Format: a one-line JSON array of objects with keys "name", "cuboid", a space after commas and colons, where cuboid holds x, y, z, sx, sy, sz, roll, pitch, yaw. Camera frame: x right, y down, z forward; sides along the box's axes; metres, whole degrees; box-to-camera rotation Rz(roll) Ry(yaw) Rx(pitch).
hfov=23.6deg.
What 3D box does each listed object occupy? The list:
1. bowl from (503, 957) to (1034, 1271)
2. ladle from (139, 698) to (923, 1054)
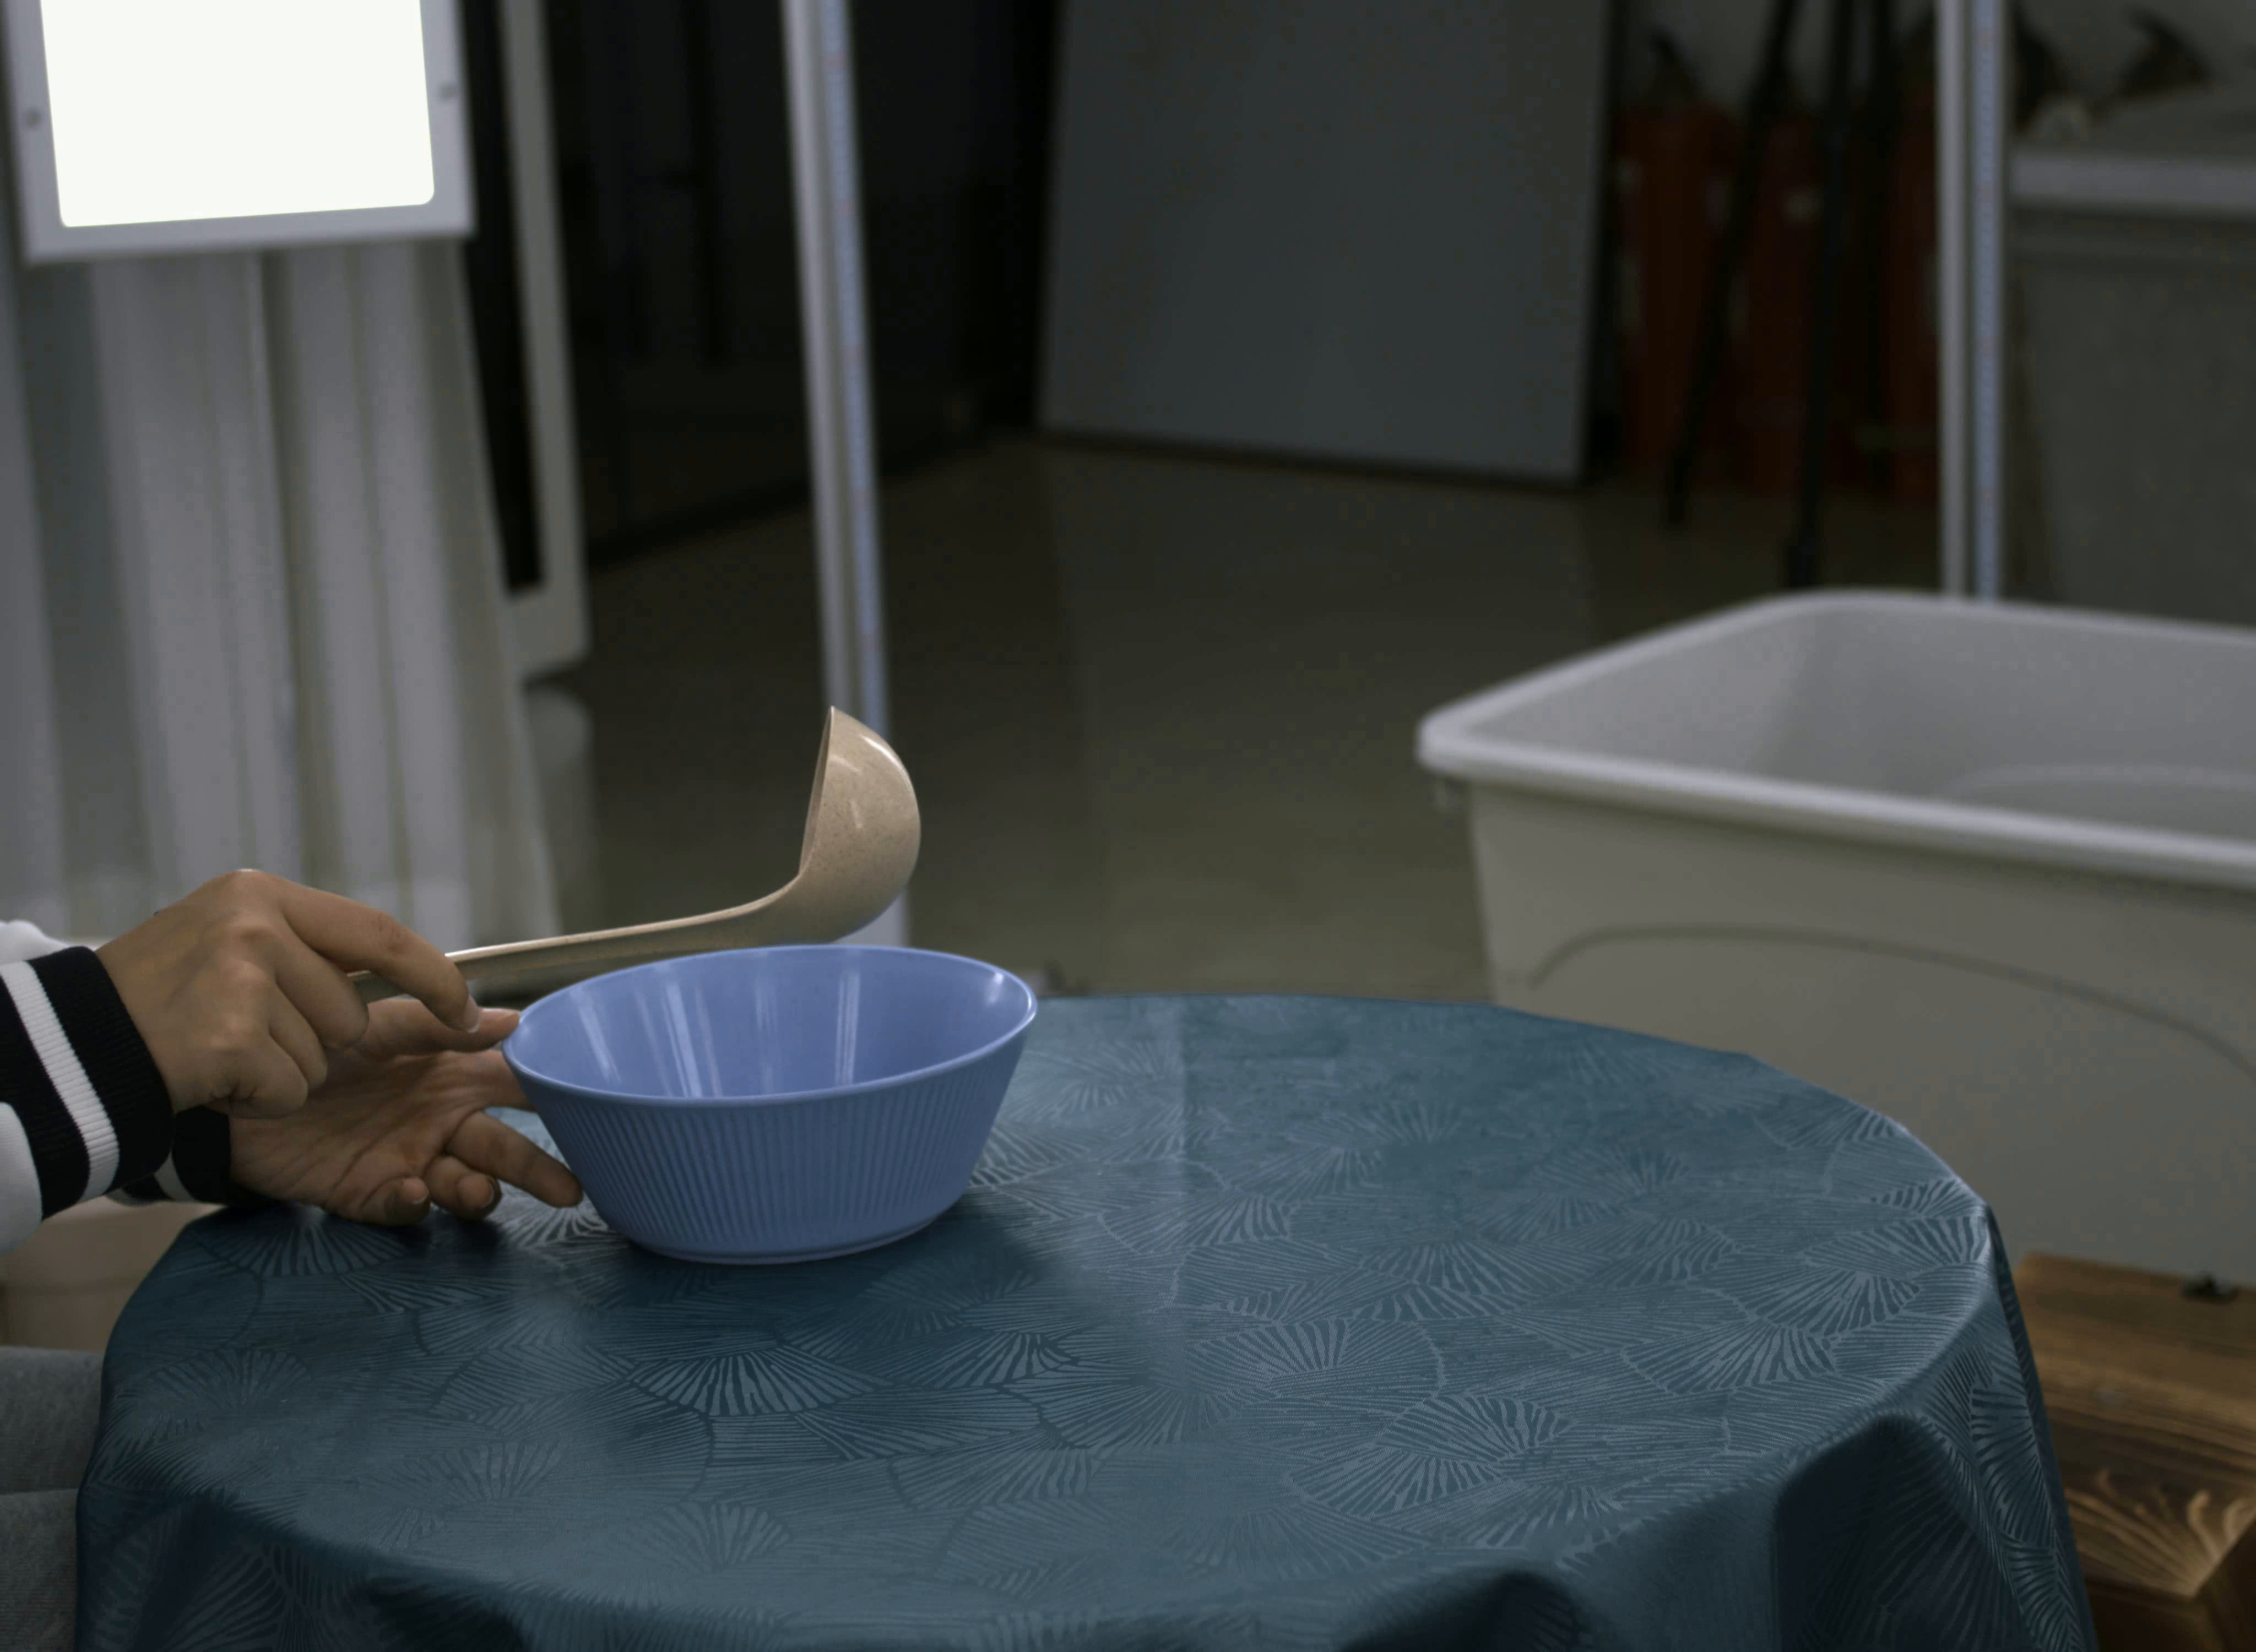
[{"name": "bowl", "cuboid": [-0.114, 0.096, 1.762, 0.174, 0.071, 0.176, -4, 13, 0]}, {"name": "ladle", "cuboid": [-0.184, 0.015, 1.631, 0.249, 0.072, 0.074, -10, 54, -21]}]
